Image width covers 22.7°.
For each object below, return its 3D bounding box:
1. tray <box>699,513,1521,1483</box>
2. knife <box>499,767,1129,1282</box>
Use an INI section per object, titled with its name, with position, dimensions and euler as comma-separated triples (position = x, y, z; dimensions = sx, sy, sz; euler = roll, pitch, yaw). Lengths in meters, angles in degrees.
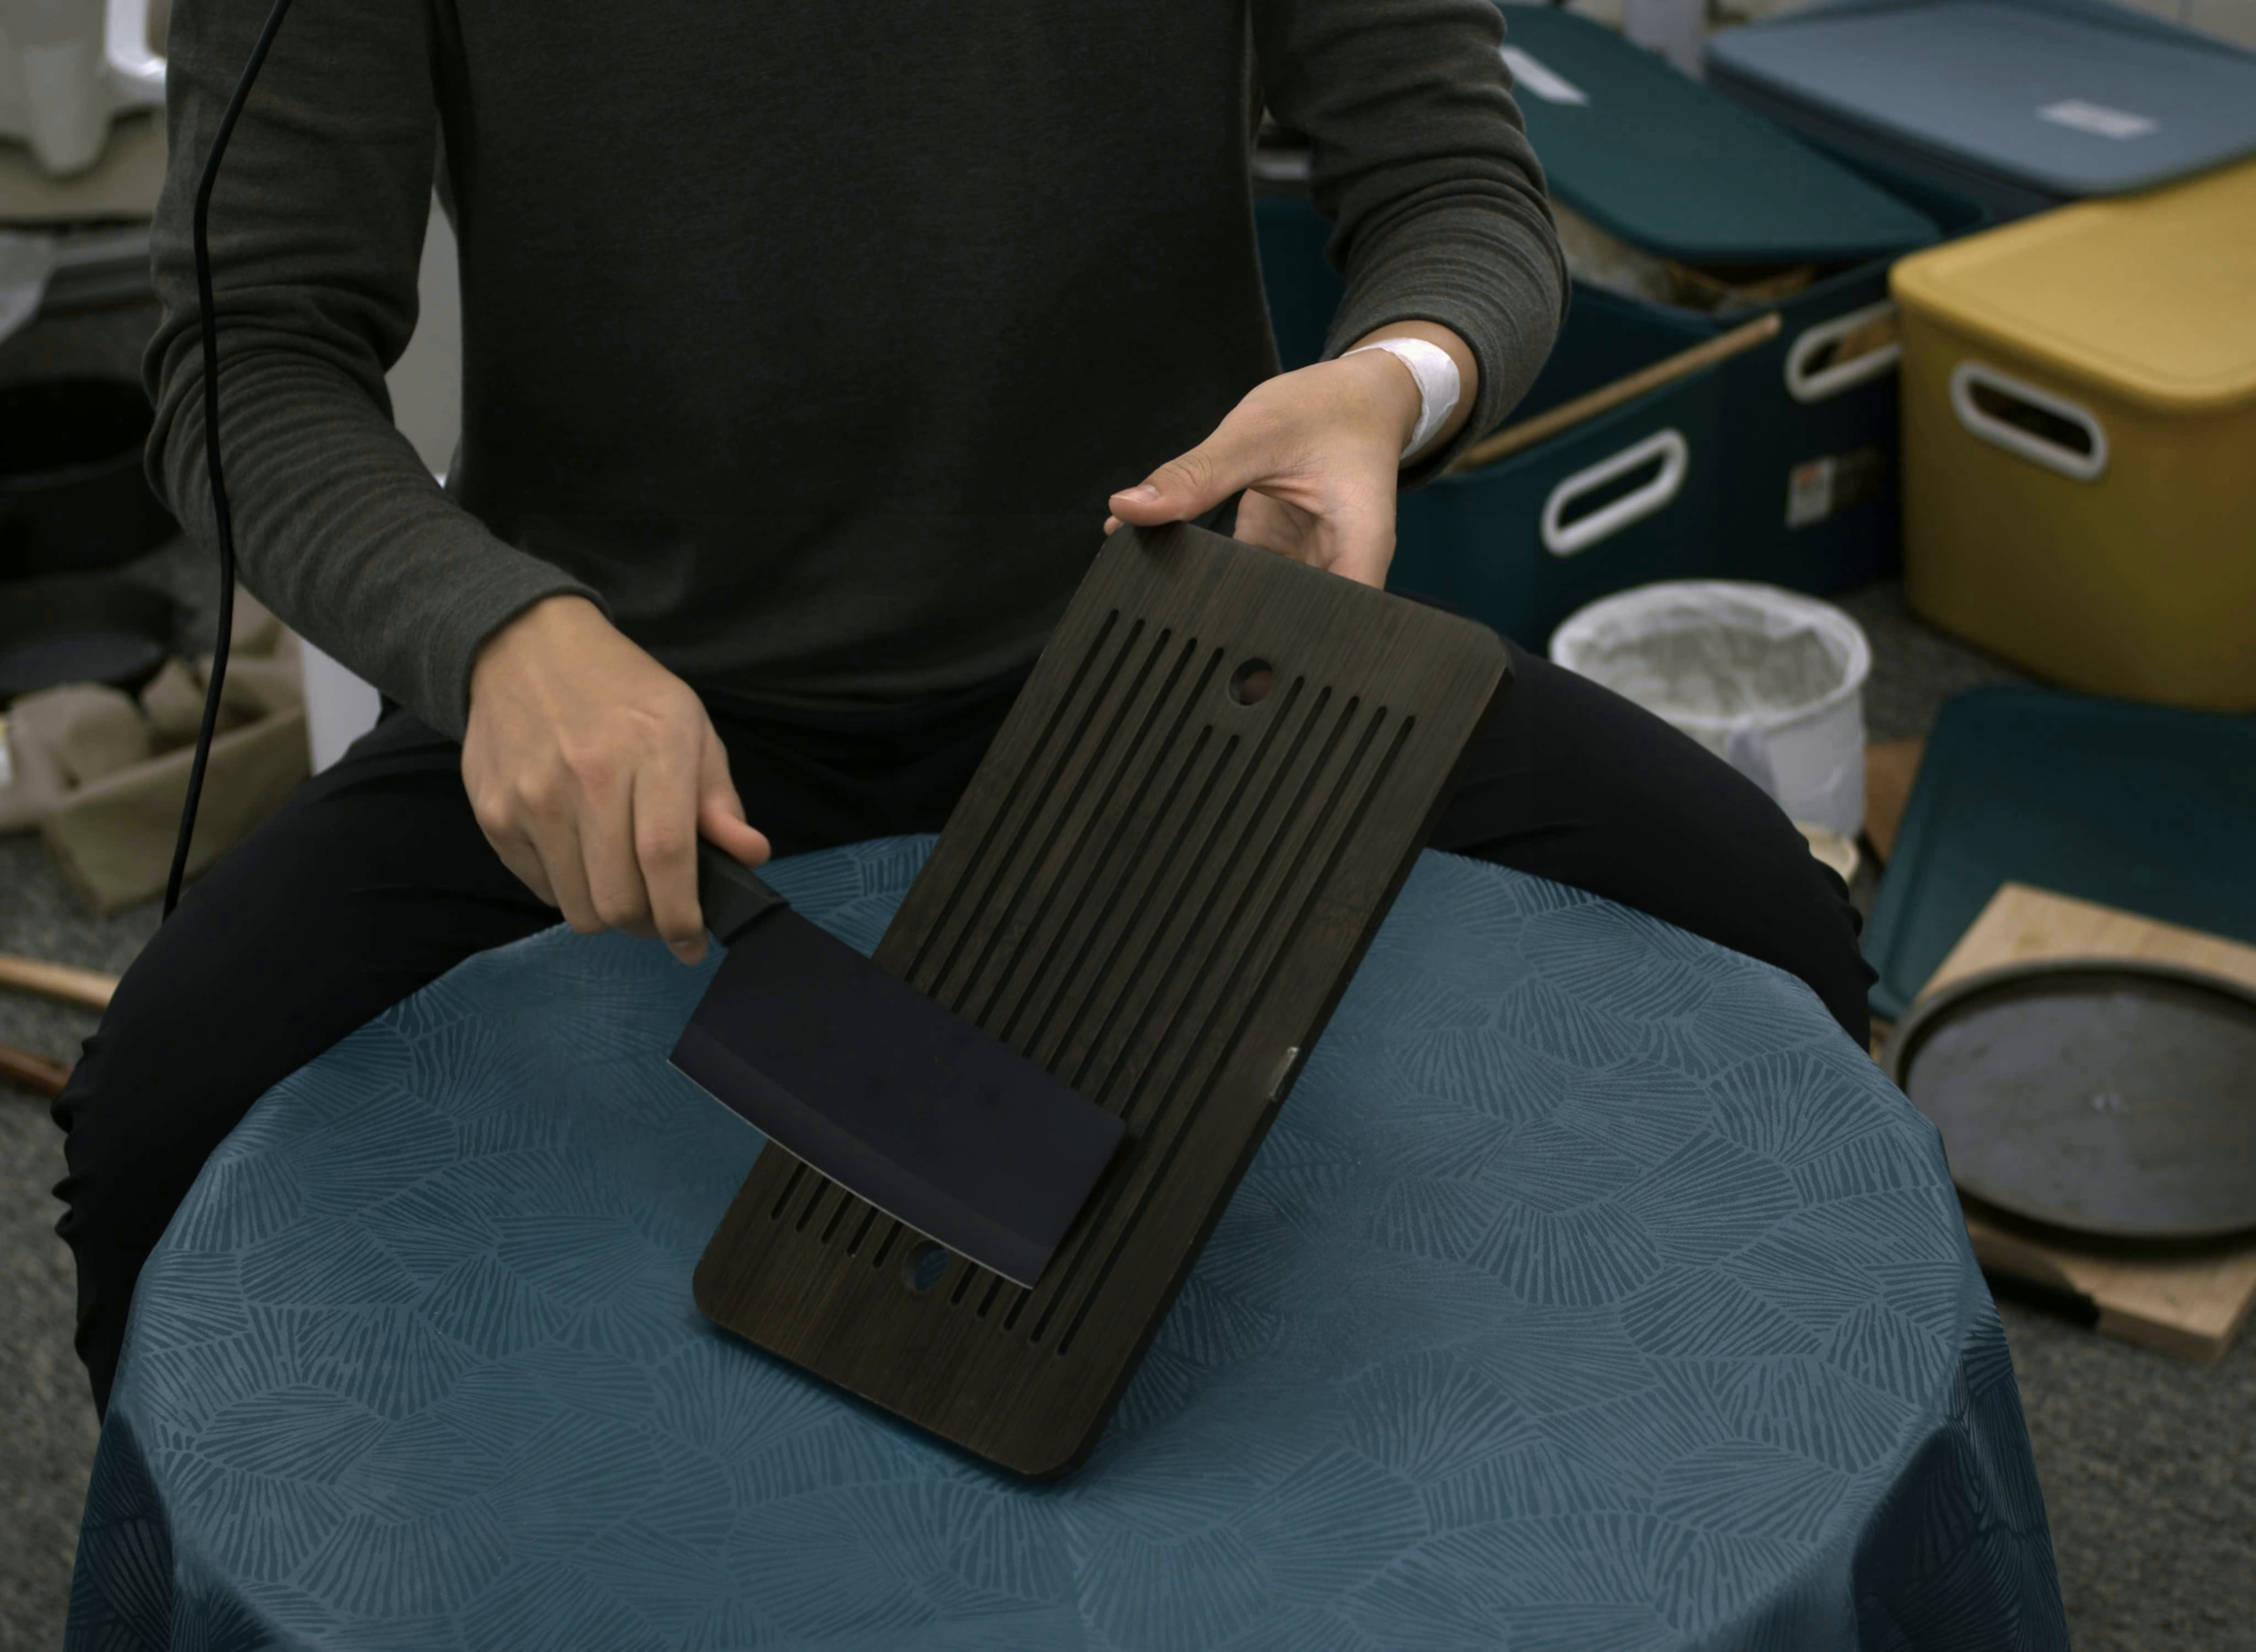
[tray]
position = -0.005, 0.050, 1.785
dimensions = 0.169, 0.018, 0.309
euler = 19, 73, 39
[knife]
position = -0.112, 0.058, 1.831
dimensions = 0.303, 0.021, 0.081
euler = 35, 89, 40
